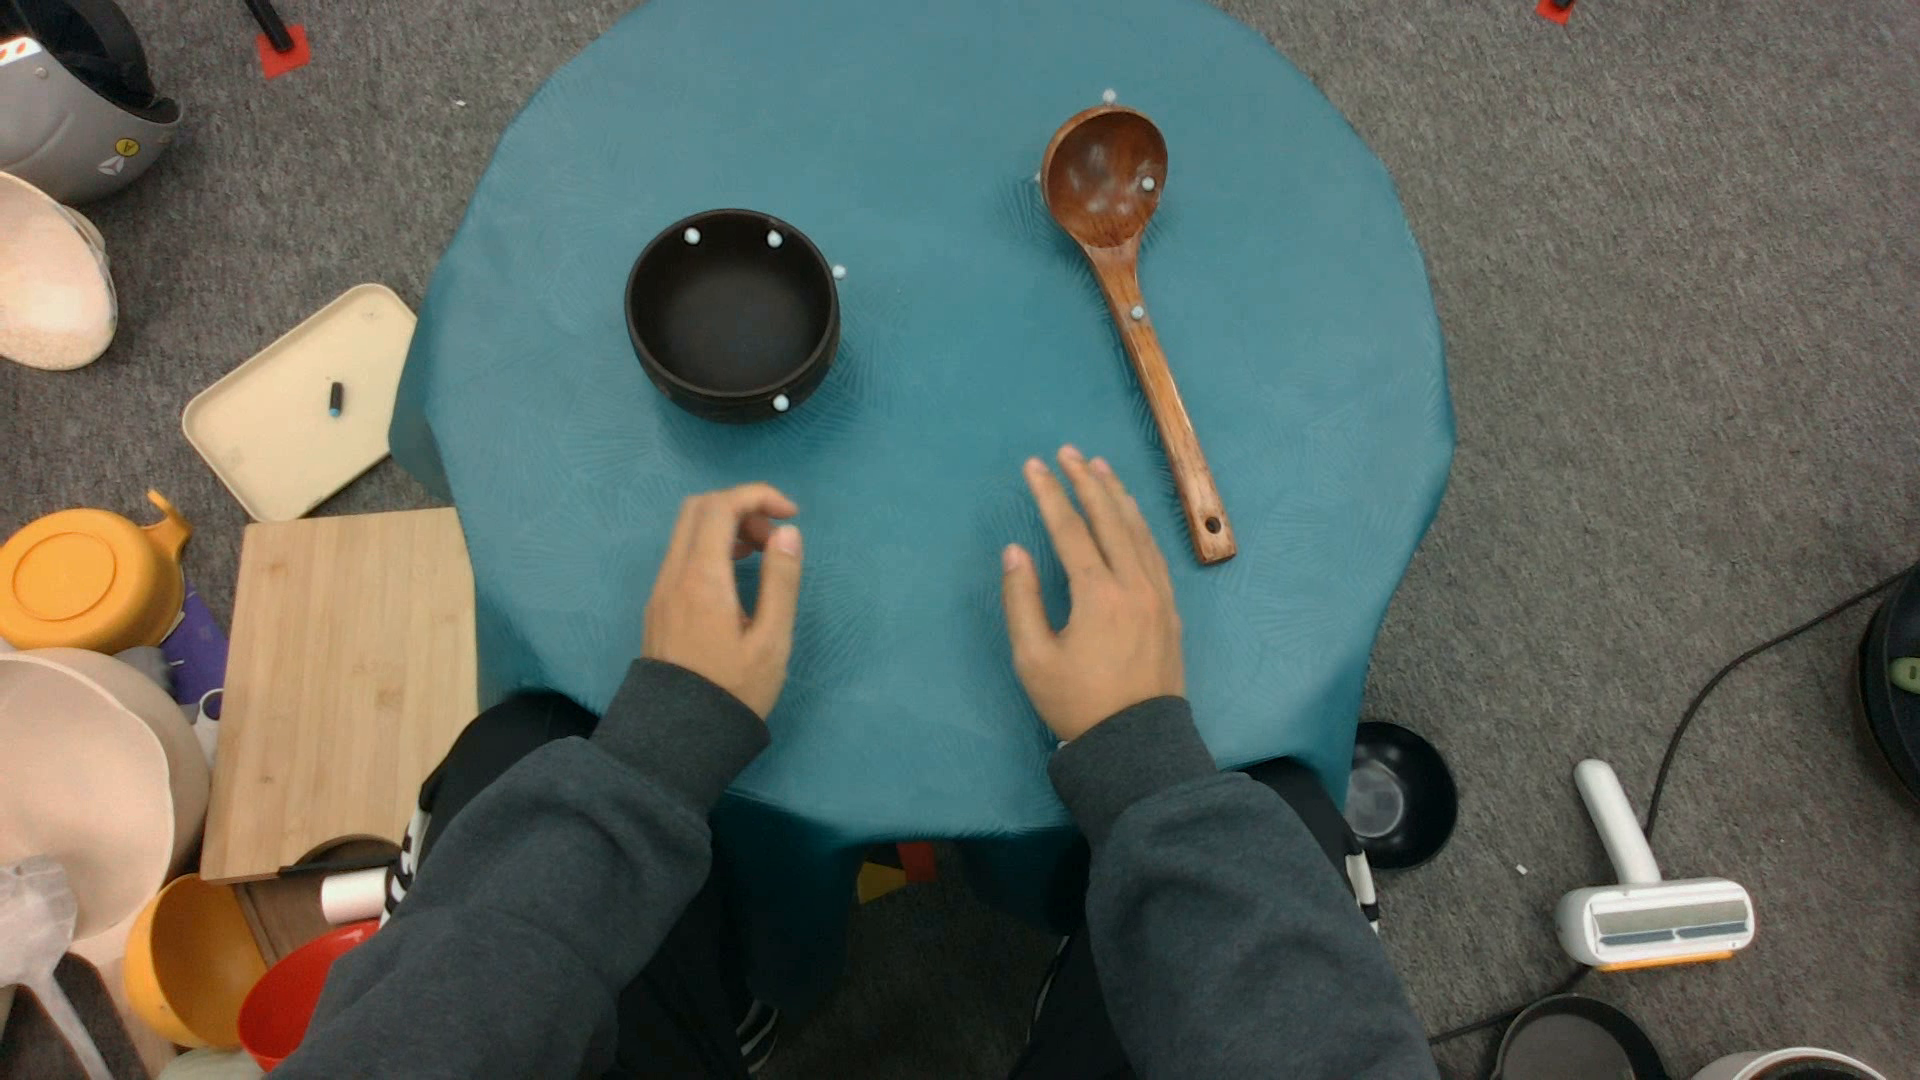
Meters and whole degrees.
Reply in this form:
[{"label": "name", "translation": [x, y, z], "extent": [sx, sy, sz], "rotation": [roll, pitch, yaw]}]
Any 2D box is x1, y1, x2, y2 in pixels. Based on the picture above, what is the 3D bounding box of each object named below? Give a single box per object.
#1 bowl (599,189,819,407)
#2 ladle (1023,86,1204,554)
[{"label": "bowl", "translation": [-0.138, -0.127, 0.768], "extent": [0.118, 0.069, 0.118], "rotation": [2, 71, -5]}, {"label": "ladle", "translation": [0.102, -0.131, 0.787], "extent": [0.082, 0.076, 0.274], "rotation": [-11, 72, -14]}]
